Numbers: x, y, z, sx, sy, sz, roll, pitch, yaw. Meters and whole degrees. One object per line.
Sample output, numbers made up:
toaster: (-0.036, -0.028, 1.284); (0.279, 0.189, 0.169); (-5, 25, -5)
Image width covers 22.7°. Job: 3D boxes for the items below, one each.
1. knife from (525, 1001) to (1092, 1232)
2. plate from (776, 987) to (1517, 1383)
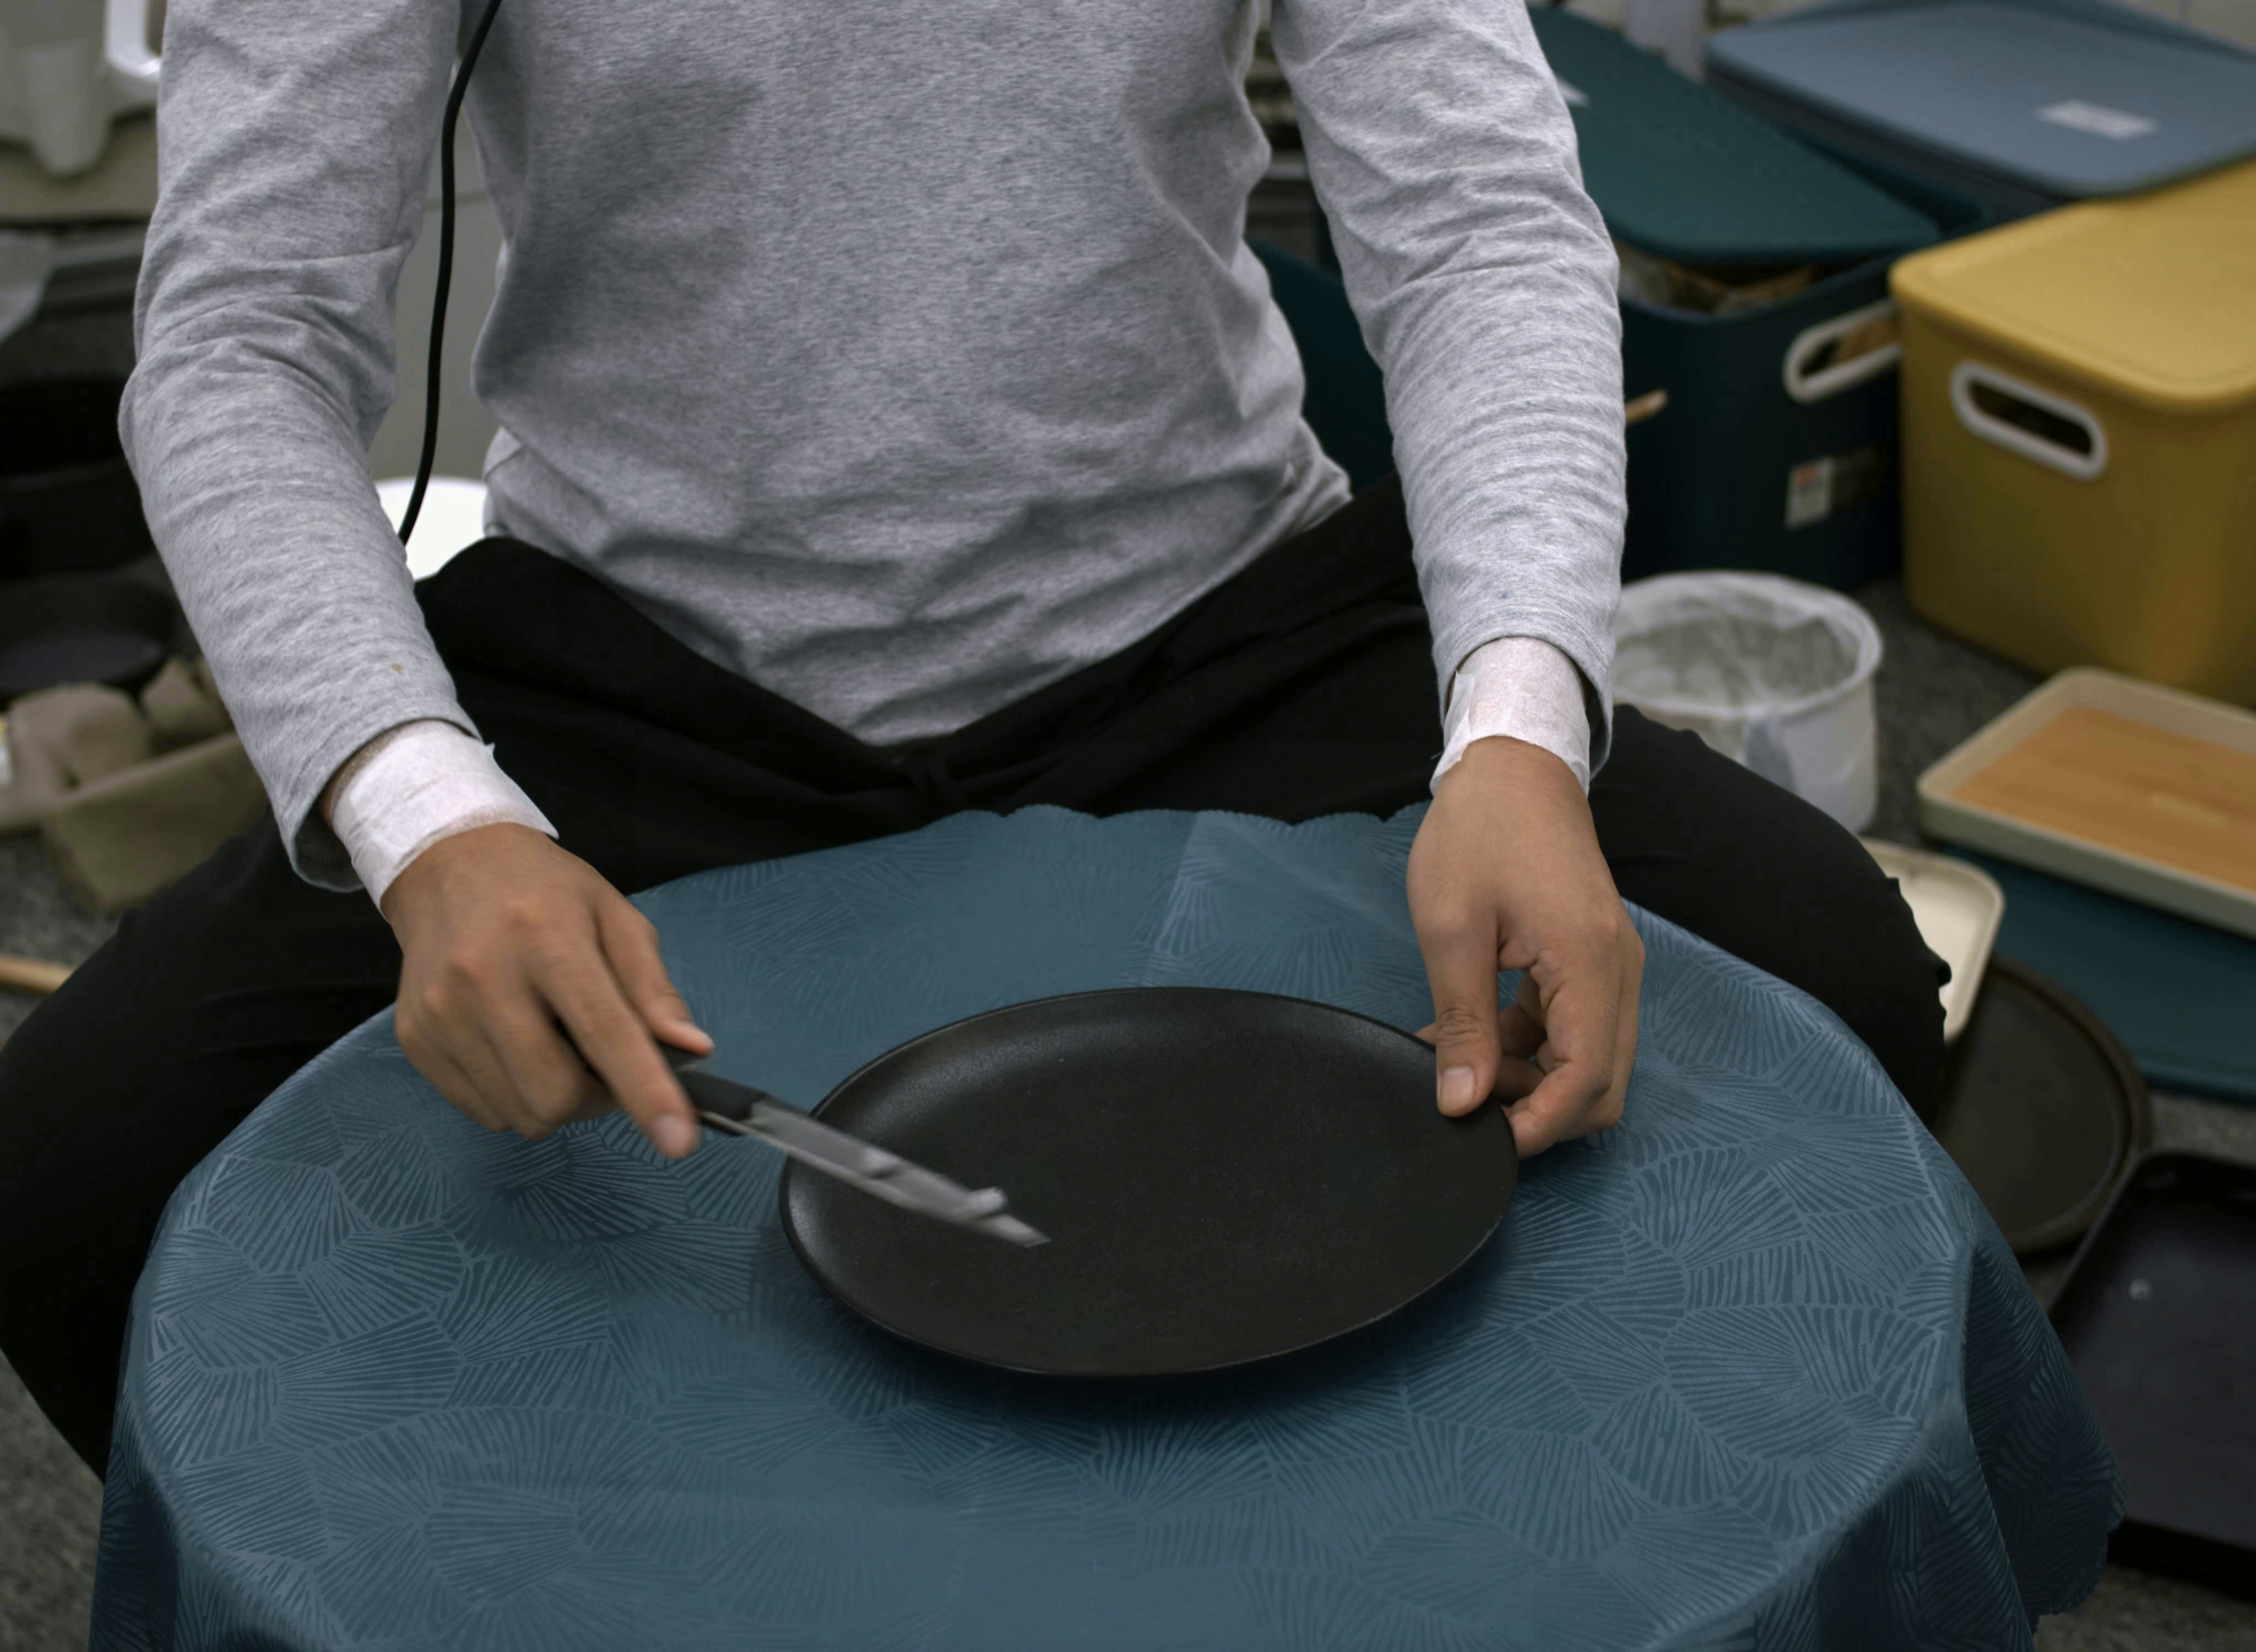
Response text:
knife: (-0.107, 0.095, 1.794); (0.237, 0.016, 0.025); (18, 25, 34)
plate: (0.006, 0.121, 1.838); (0.243, 0.023, 0.248); (-2, 27, 1)
